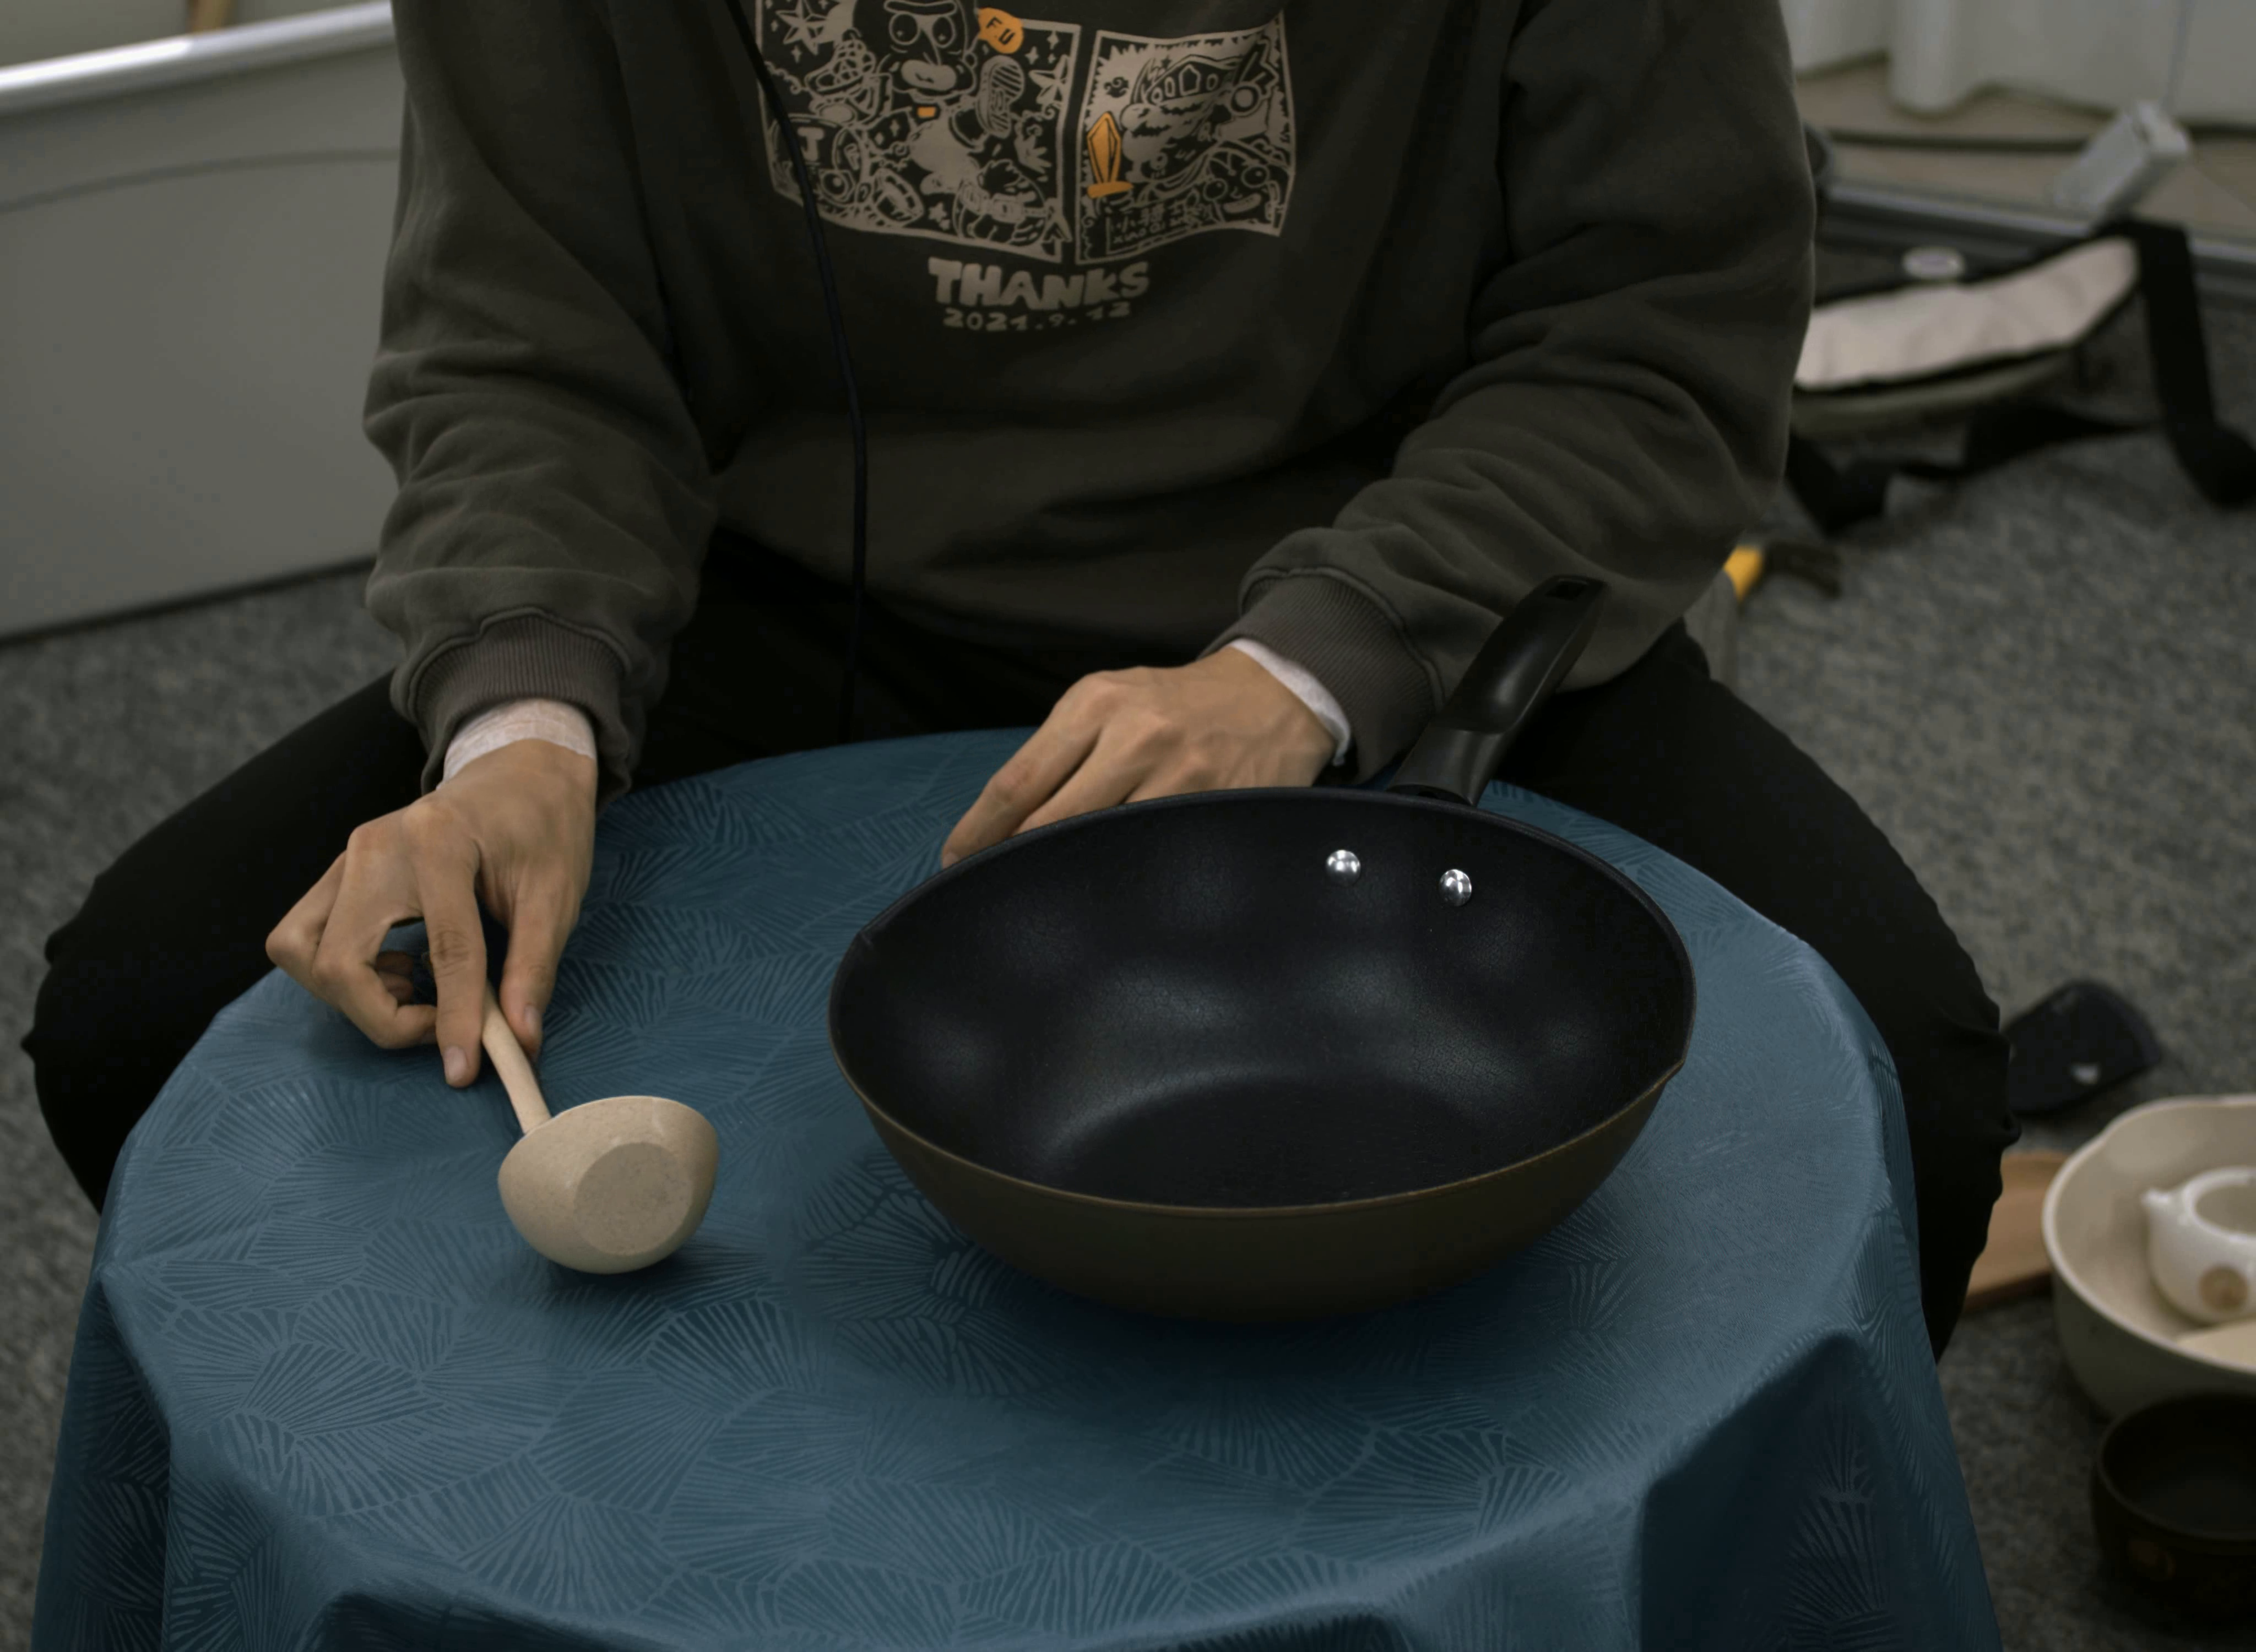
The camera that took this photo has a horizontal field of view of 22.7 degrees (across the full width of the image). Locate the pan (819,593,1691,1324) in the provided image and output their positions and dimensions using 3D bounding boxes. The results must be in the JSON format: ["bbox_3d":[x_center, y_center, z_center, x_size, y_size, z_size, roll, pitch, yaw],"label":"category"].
[{"bbox_3d":[0.078,0.045,1.910,0.286,0.086,0.471,9,29,21],"label":"pan"}]

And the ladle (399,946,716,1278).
[{"bbox_3d":[-0.205,0.069,1.900,0.072,0.072,0.256,-3,27,-23],"label":"ladle"}]
